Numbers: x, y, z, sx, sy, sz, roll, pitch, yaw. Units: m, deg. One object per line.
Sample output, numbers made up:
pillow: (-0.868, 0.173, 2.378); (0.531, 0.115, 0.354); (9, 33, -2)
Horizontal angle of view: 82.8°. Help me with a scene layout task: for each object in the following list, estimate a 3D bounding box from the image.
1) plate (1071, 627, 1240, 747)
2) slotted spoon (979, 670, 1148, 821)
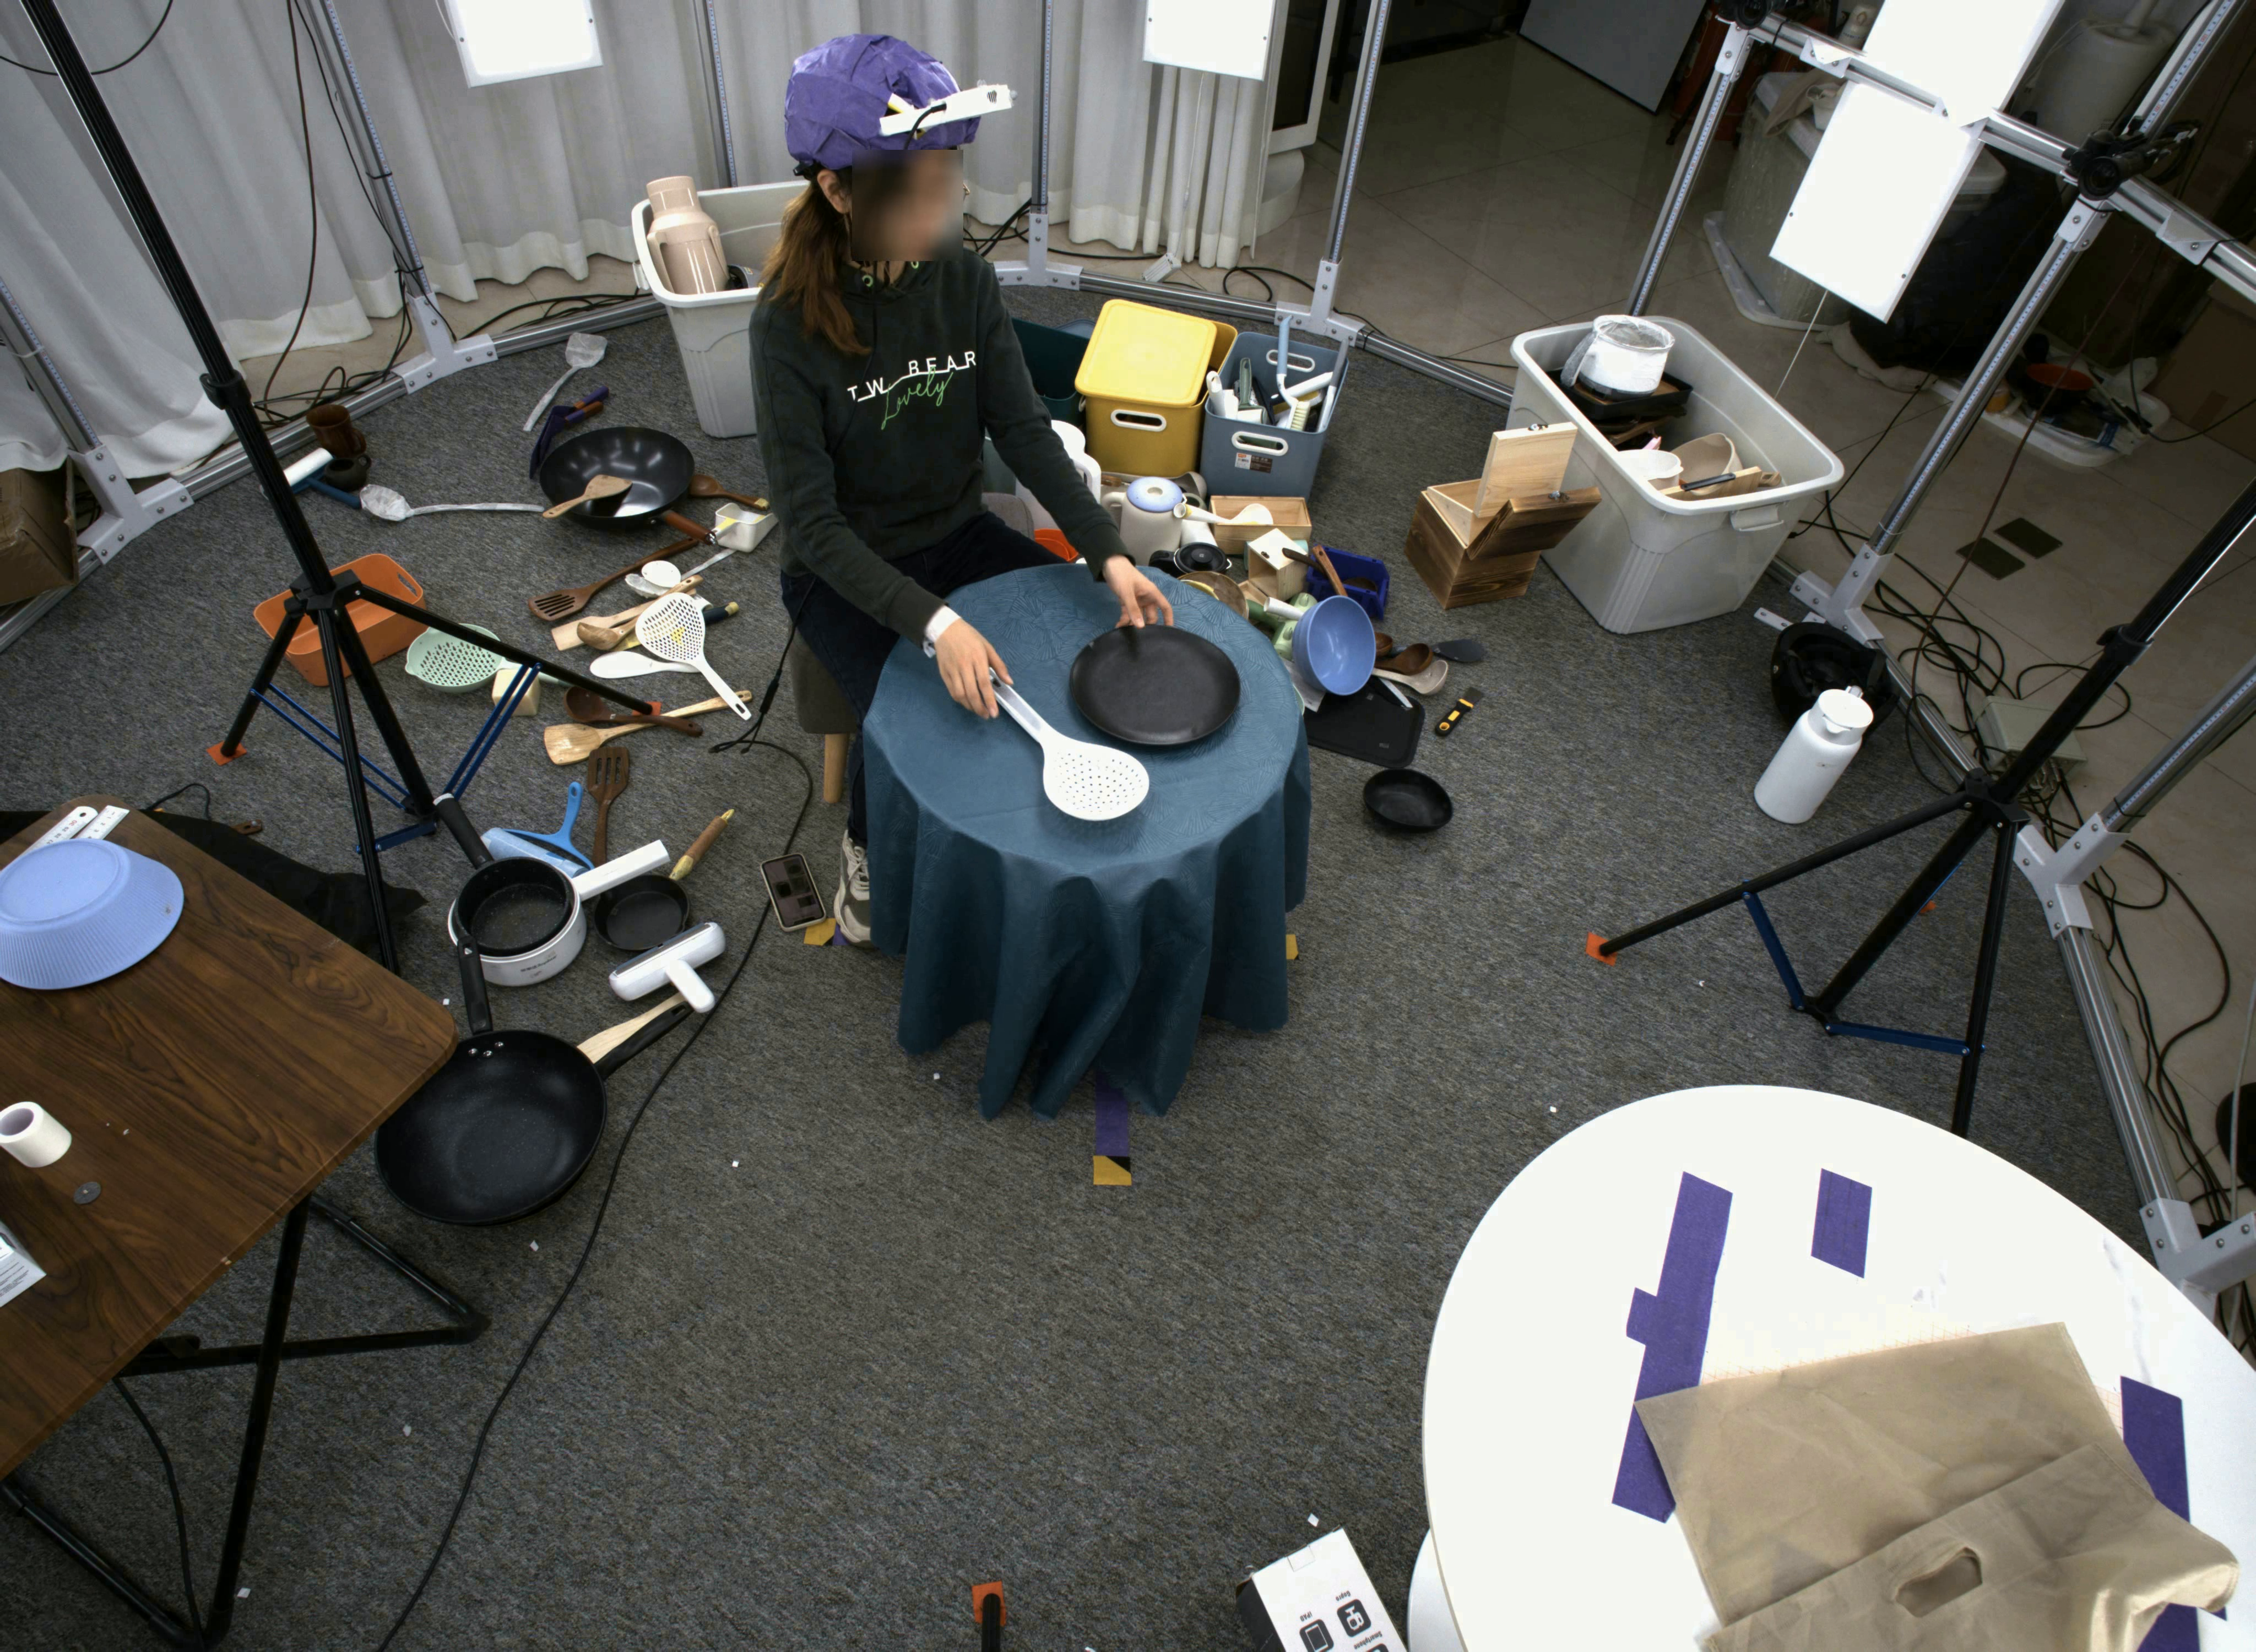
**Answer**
plate: (0.040, -0.198, 1.845); (0.244, 0.023, 0.250); (2, 49, -2)
slotted spoon: (-0.104, -0.115, 1.748); (0.136, 0.044, 0.356); (-25, 54, -25)
